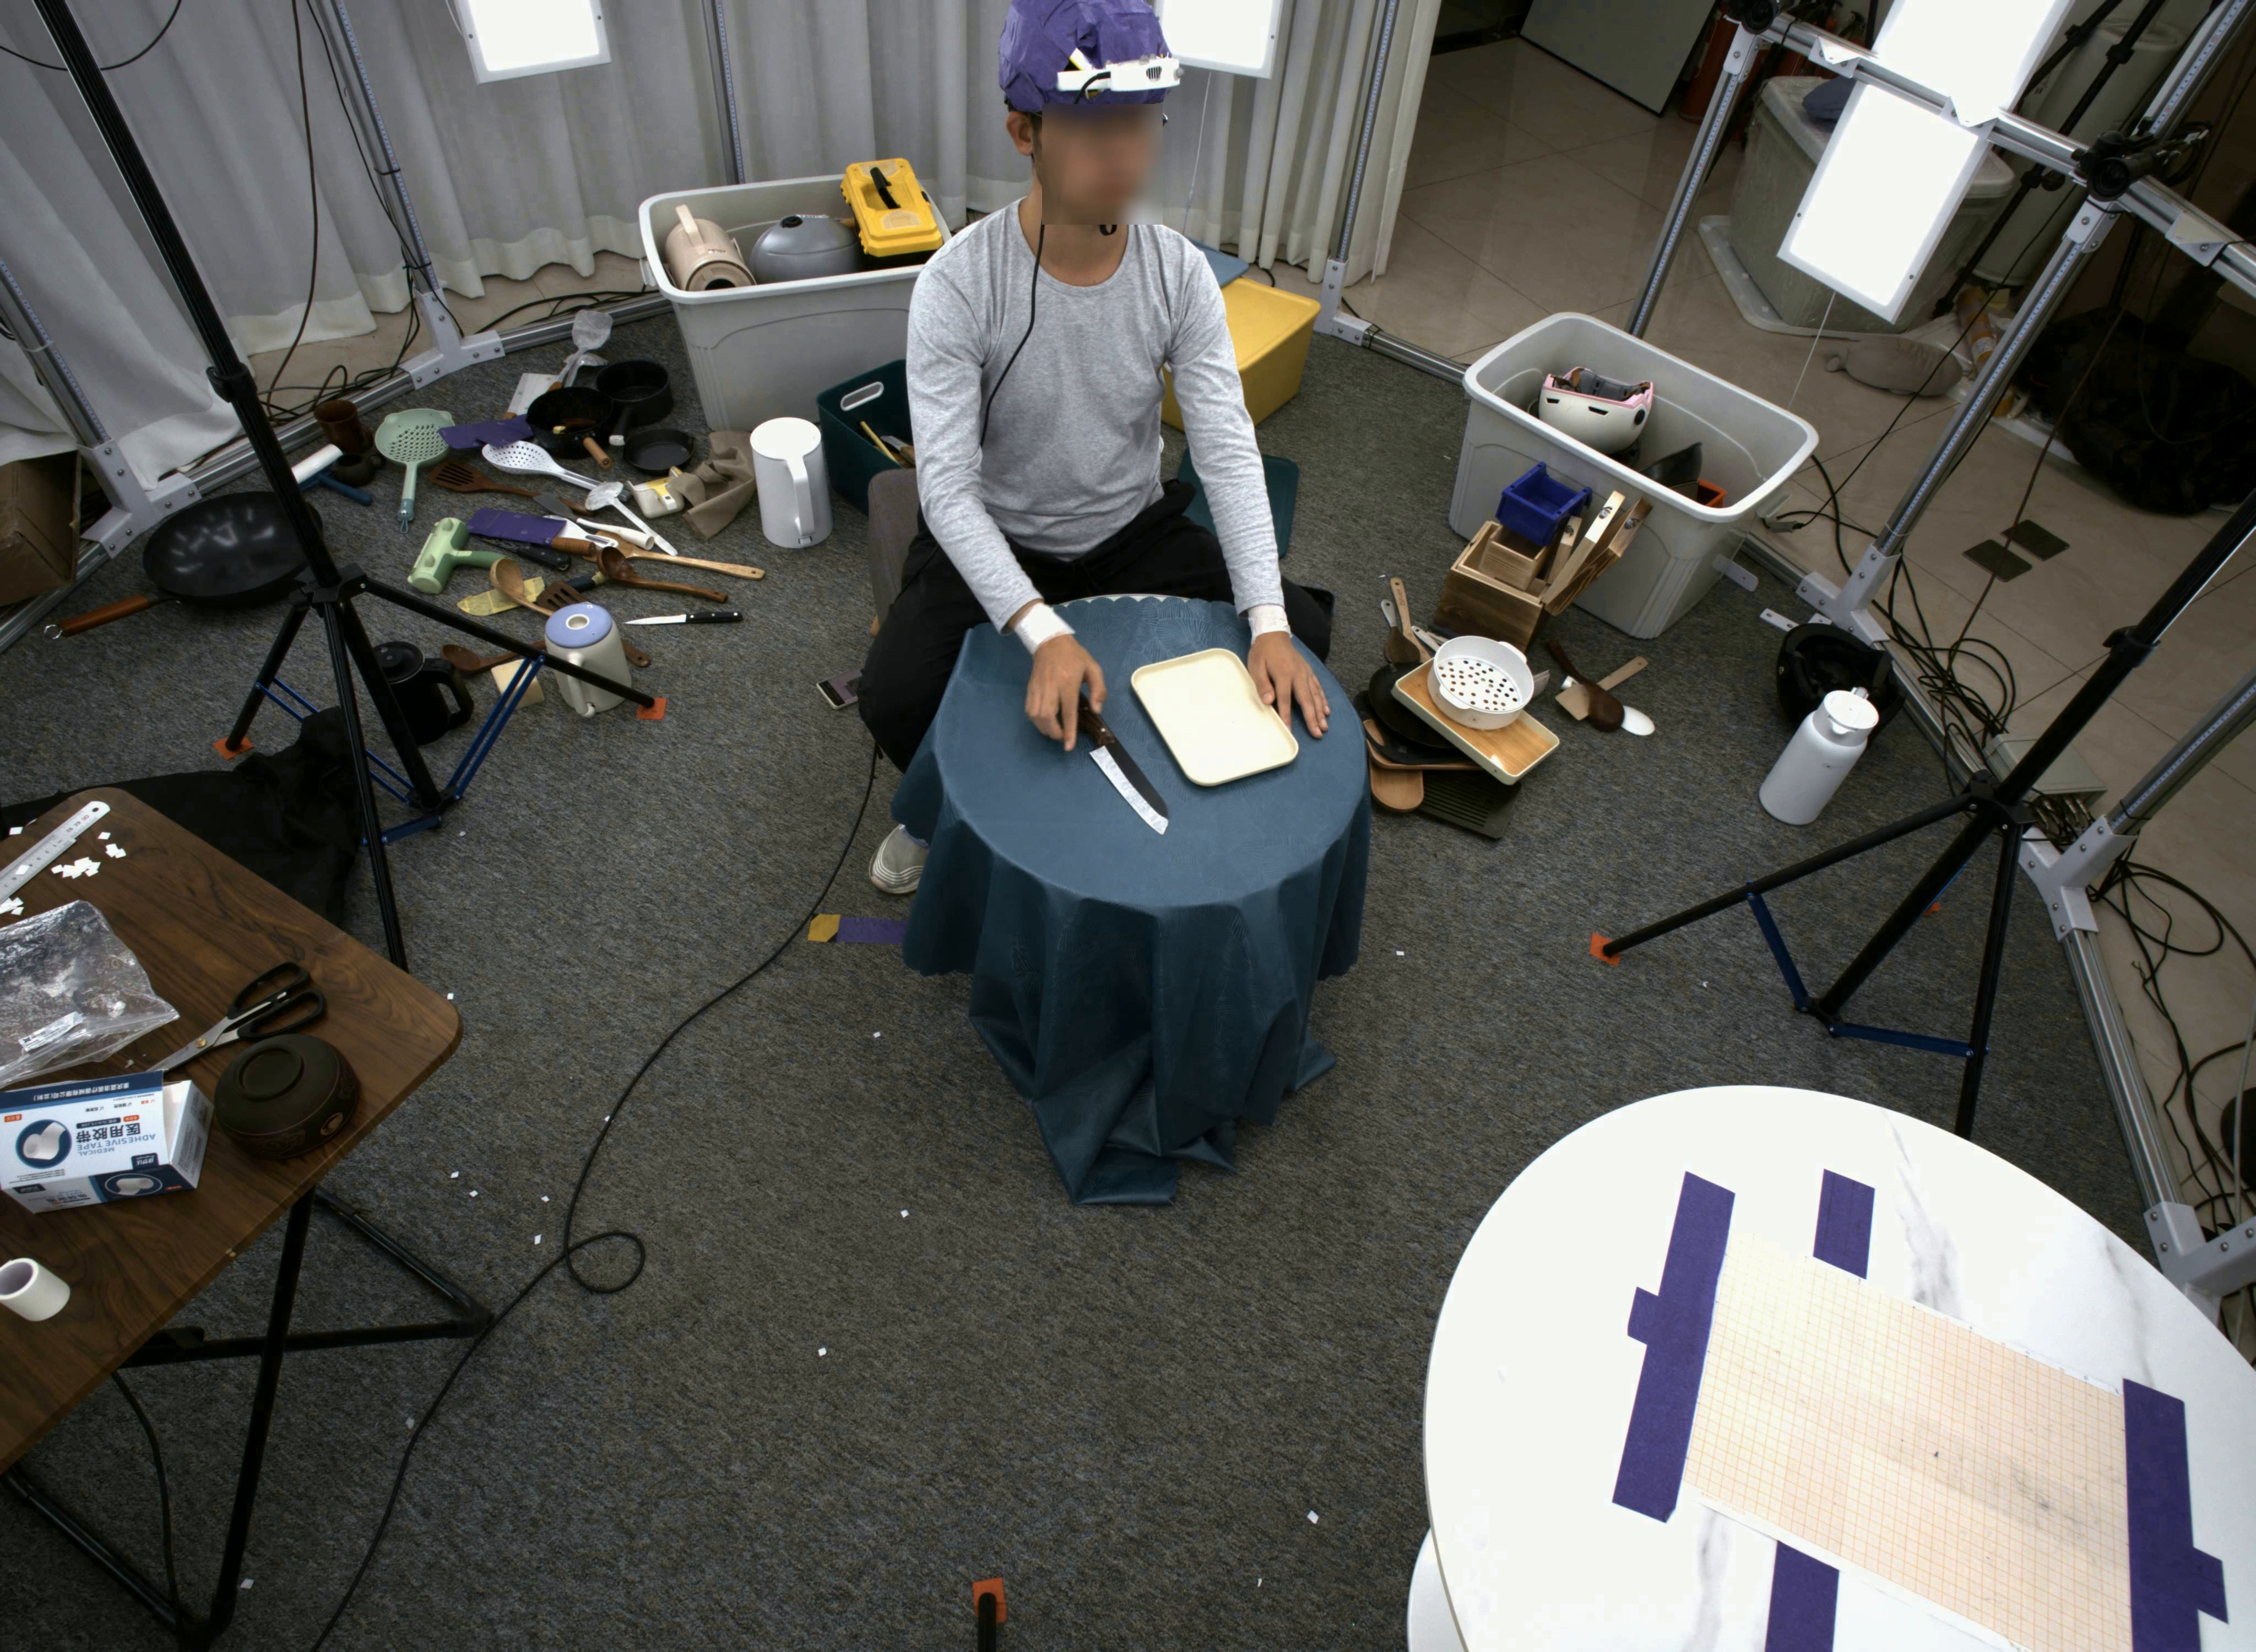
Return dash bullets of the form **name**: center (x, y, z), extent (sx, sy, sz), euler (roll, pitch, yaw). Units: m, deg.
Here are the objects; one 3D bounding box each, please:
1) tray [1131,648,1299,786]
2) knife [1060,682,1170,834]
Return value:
- **tray**: center (0.119, -0.154, 1.798), extent (0.171, 0.017, 0.245), euler (-16, 52, -17)
- **knife**: center (-0.020, -0.095, 1.739), extent (0.050, 0.019, 0.295), euler (-24, 57, -15)
